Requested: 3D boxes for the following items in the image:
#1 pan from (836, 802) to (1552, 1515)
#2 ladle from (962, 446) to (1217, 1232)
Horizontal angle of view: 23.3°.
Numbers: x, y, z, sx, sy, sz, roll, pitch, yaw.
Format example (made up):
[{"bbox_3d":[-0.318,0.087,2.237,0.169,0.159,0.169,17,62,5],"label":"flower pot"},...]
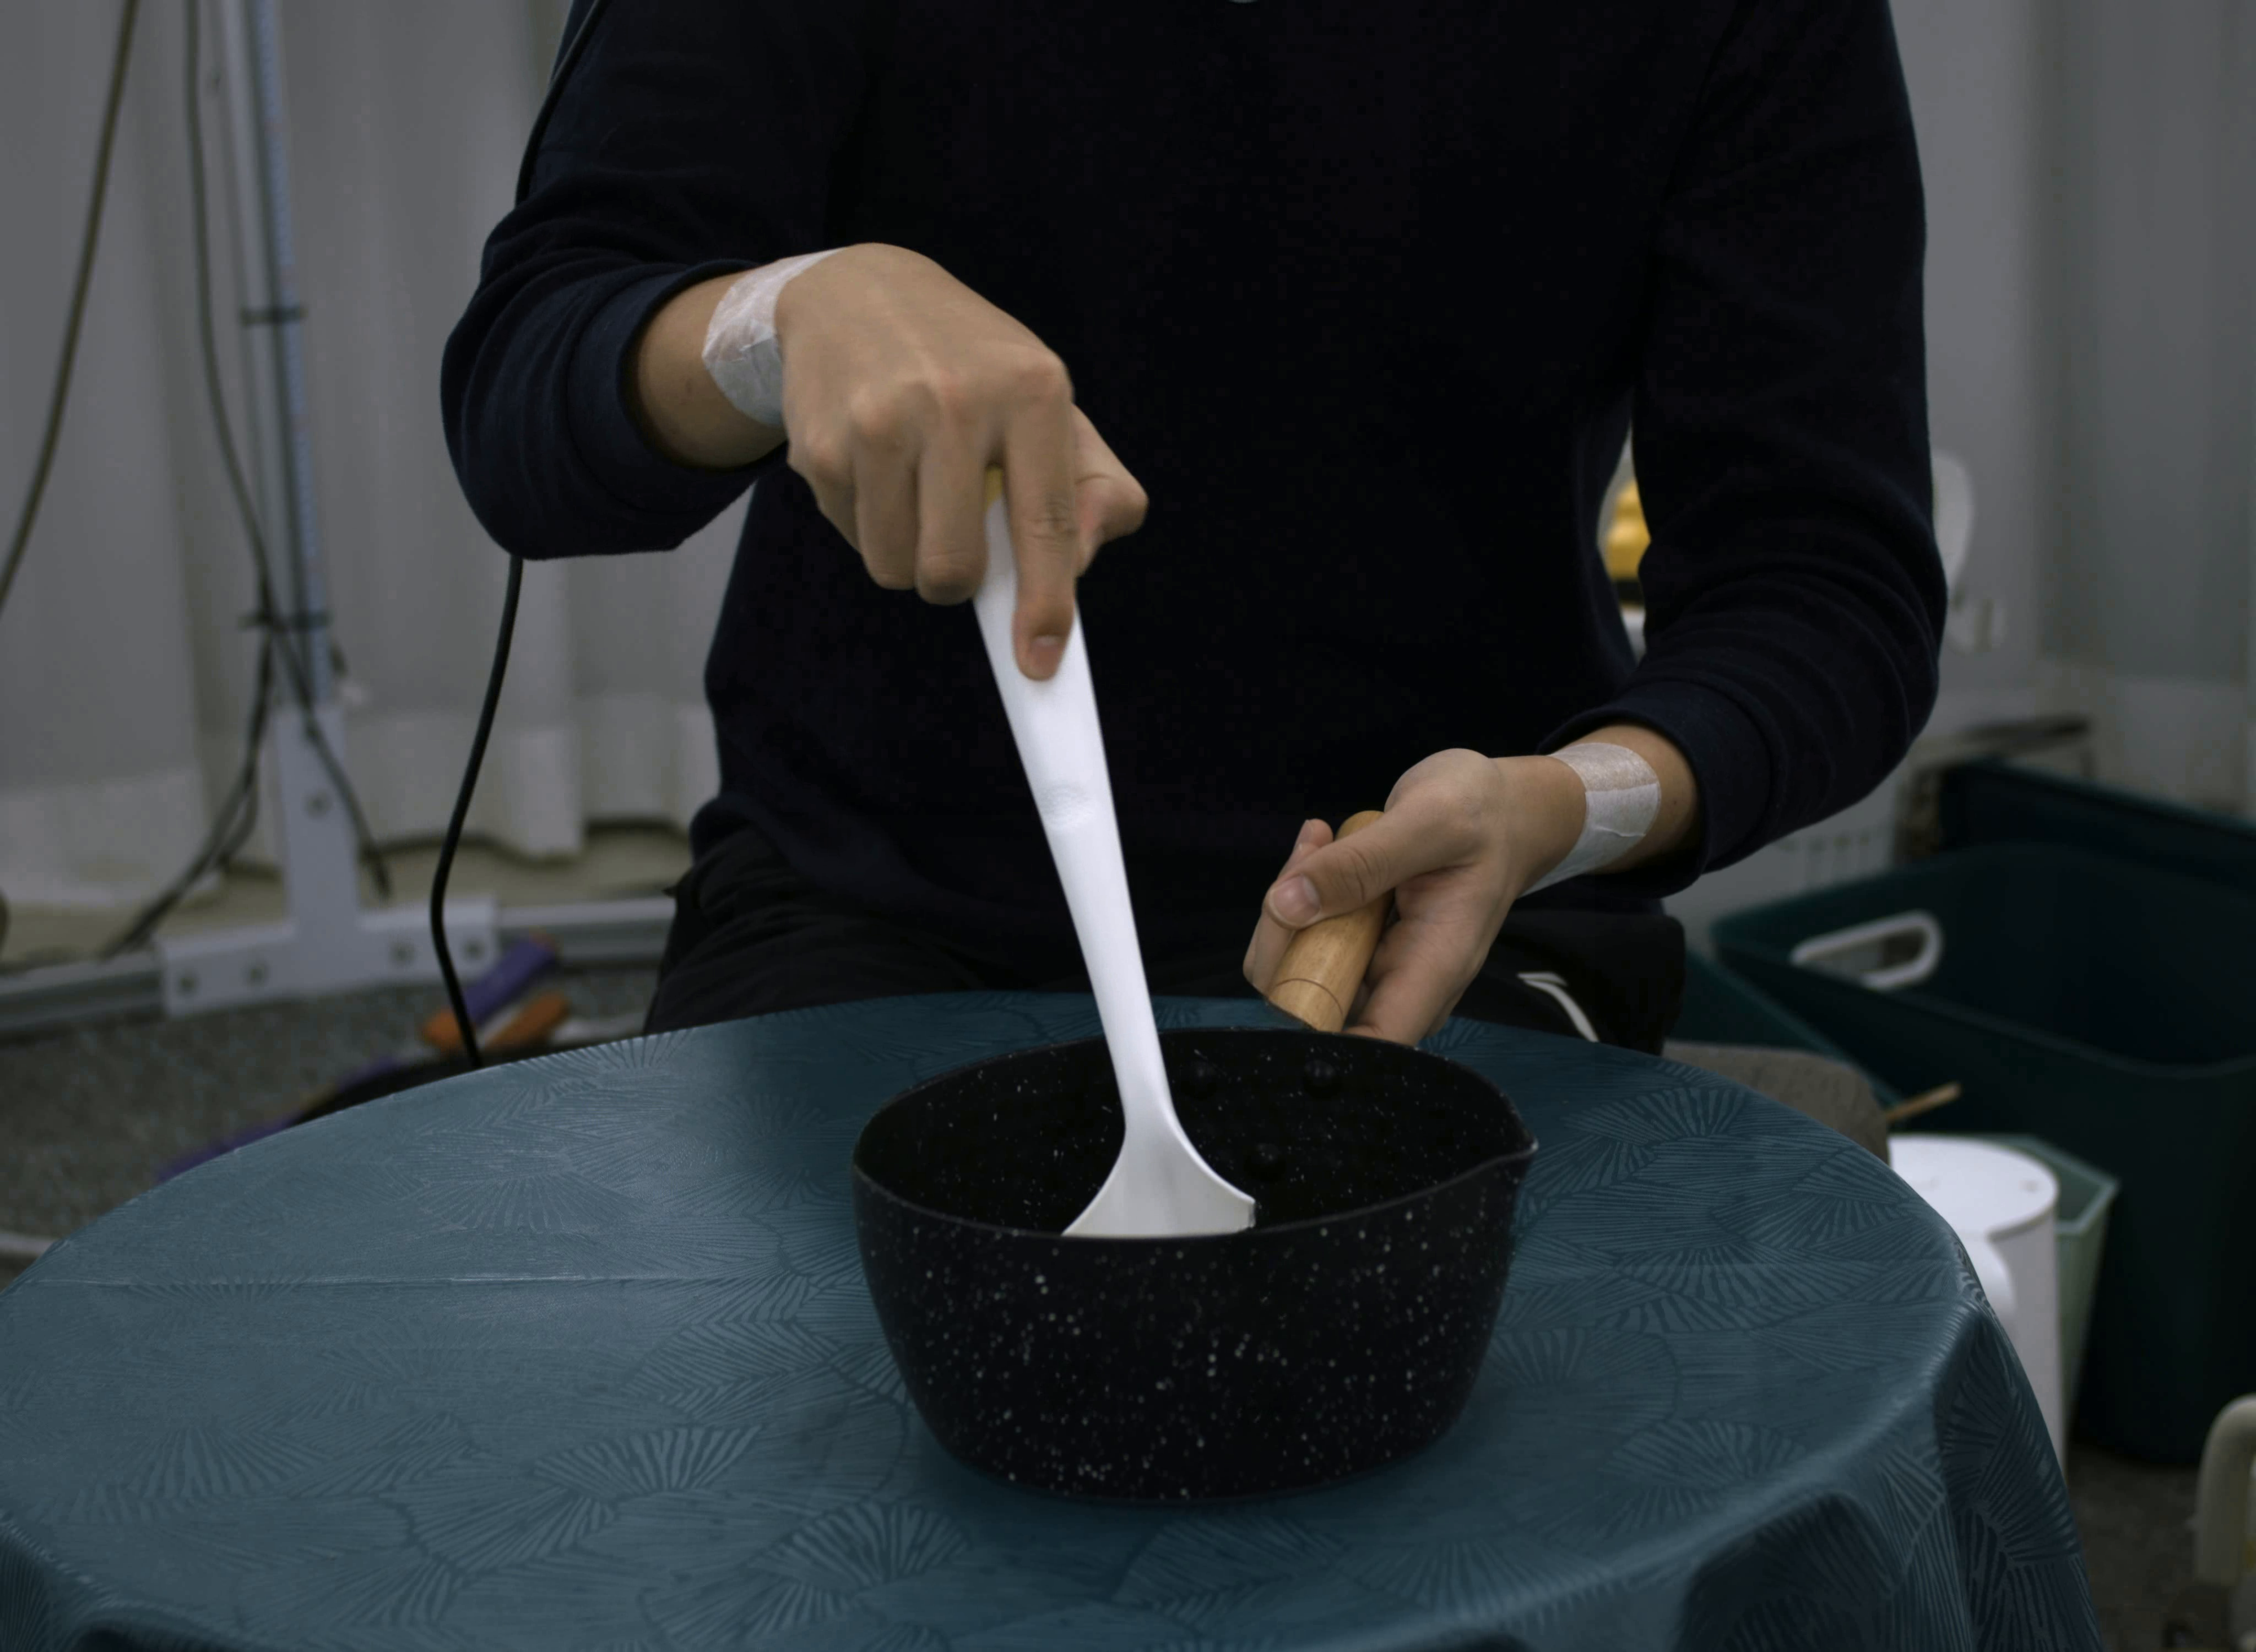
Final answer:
[{"bbox_3d":[0.036,0.091,1.590,0.207,0.108,0.344,0,16,15],"label":"pan"},{"bbox_3d":[-0.022,0.027,1.577,0.090,0.296,0.069,-20,-21,31],"label":"ladle"}]
